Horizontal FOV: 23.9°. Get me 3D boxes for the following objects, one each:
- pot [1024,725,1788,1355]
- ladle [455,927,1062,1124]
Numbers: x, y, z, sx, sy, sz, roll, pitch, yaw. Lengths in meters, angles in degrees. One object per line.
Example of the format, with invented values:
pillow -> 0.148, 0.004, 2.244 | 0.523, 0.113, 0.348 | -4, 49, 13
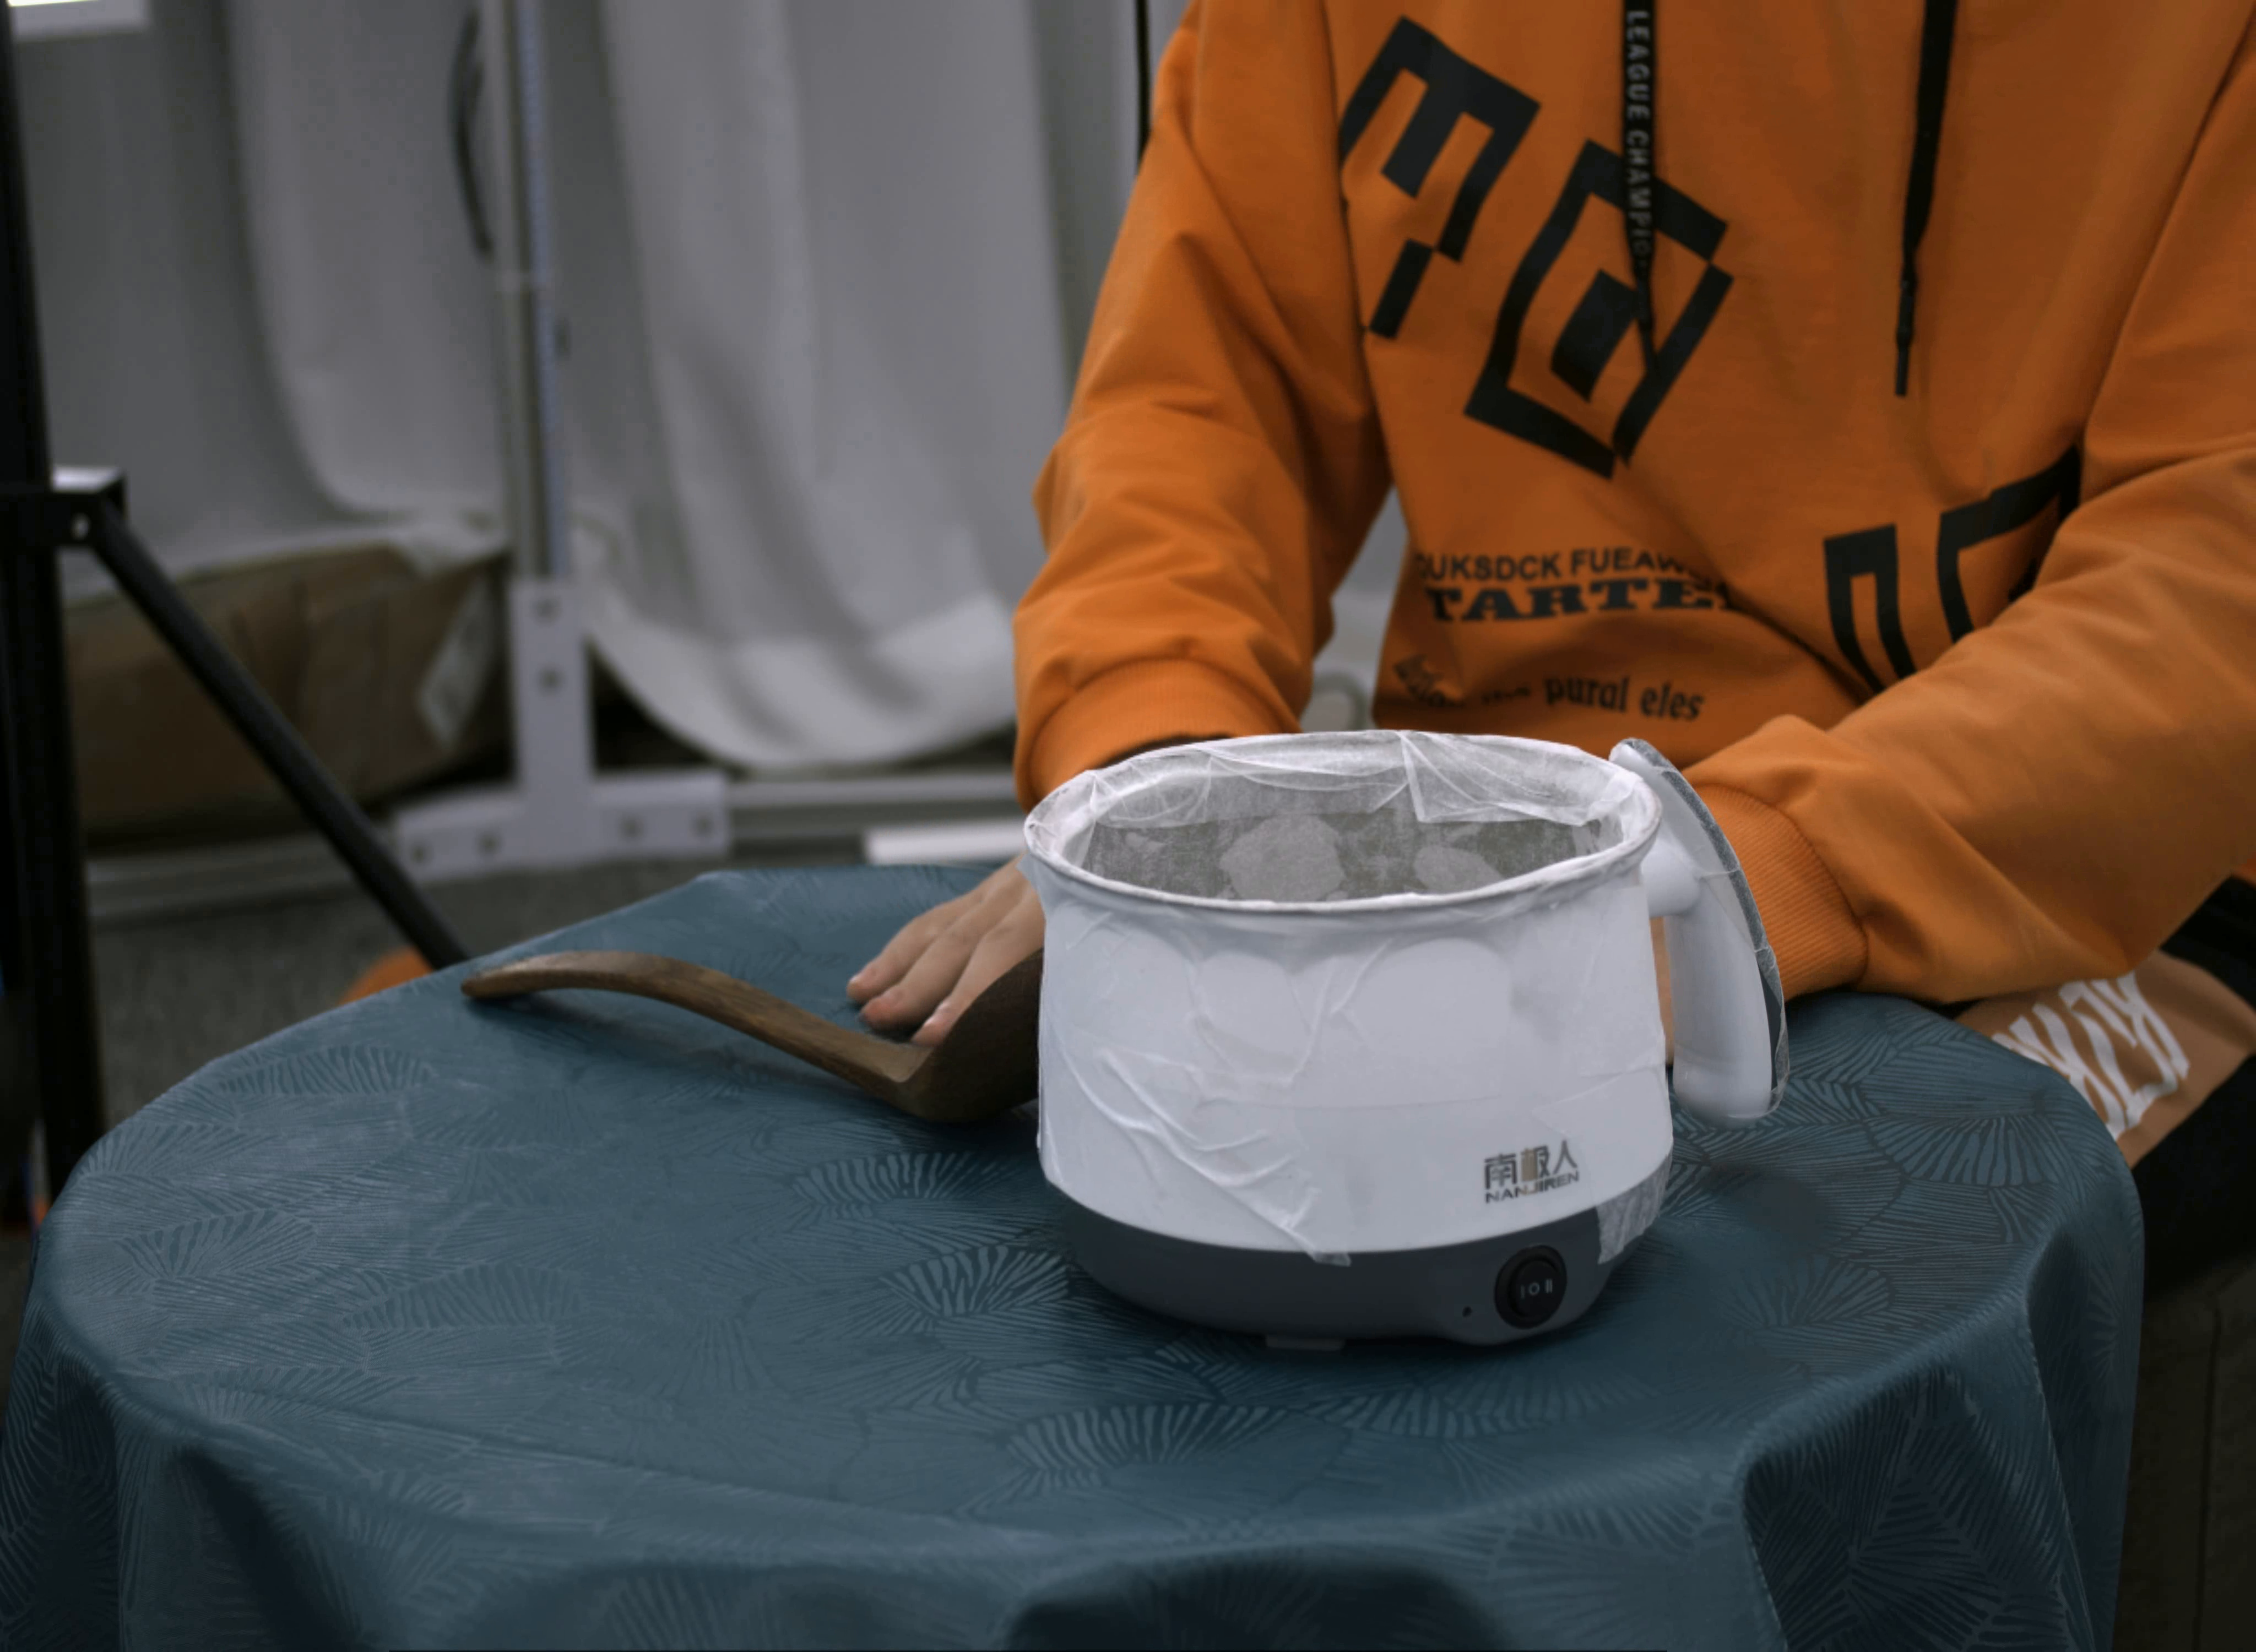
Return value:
pot -> 0.085, 0.053, 1.487 | 0.228, 0.136, 0.182 | -12, 18, -29
ladle -> -0.115, 0.043, 1.678 | 0.280, 0.071, 0.074 | 13, 19, 42
